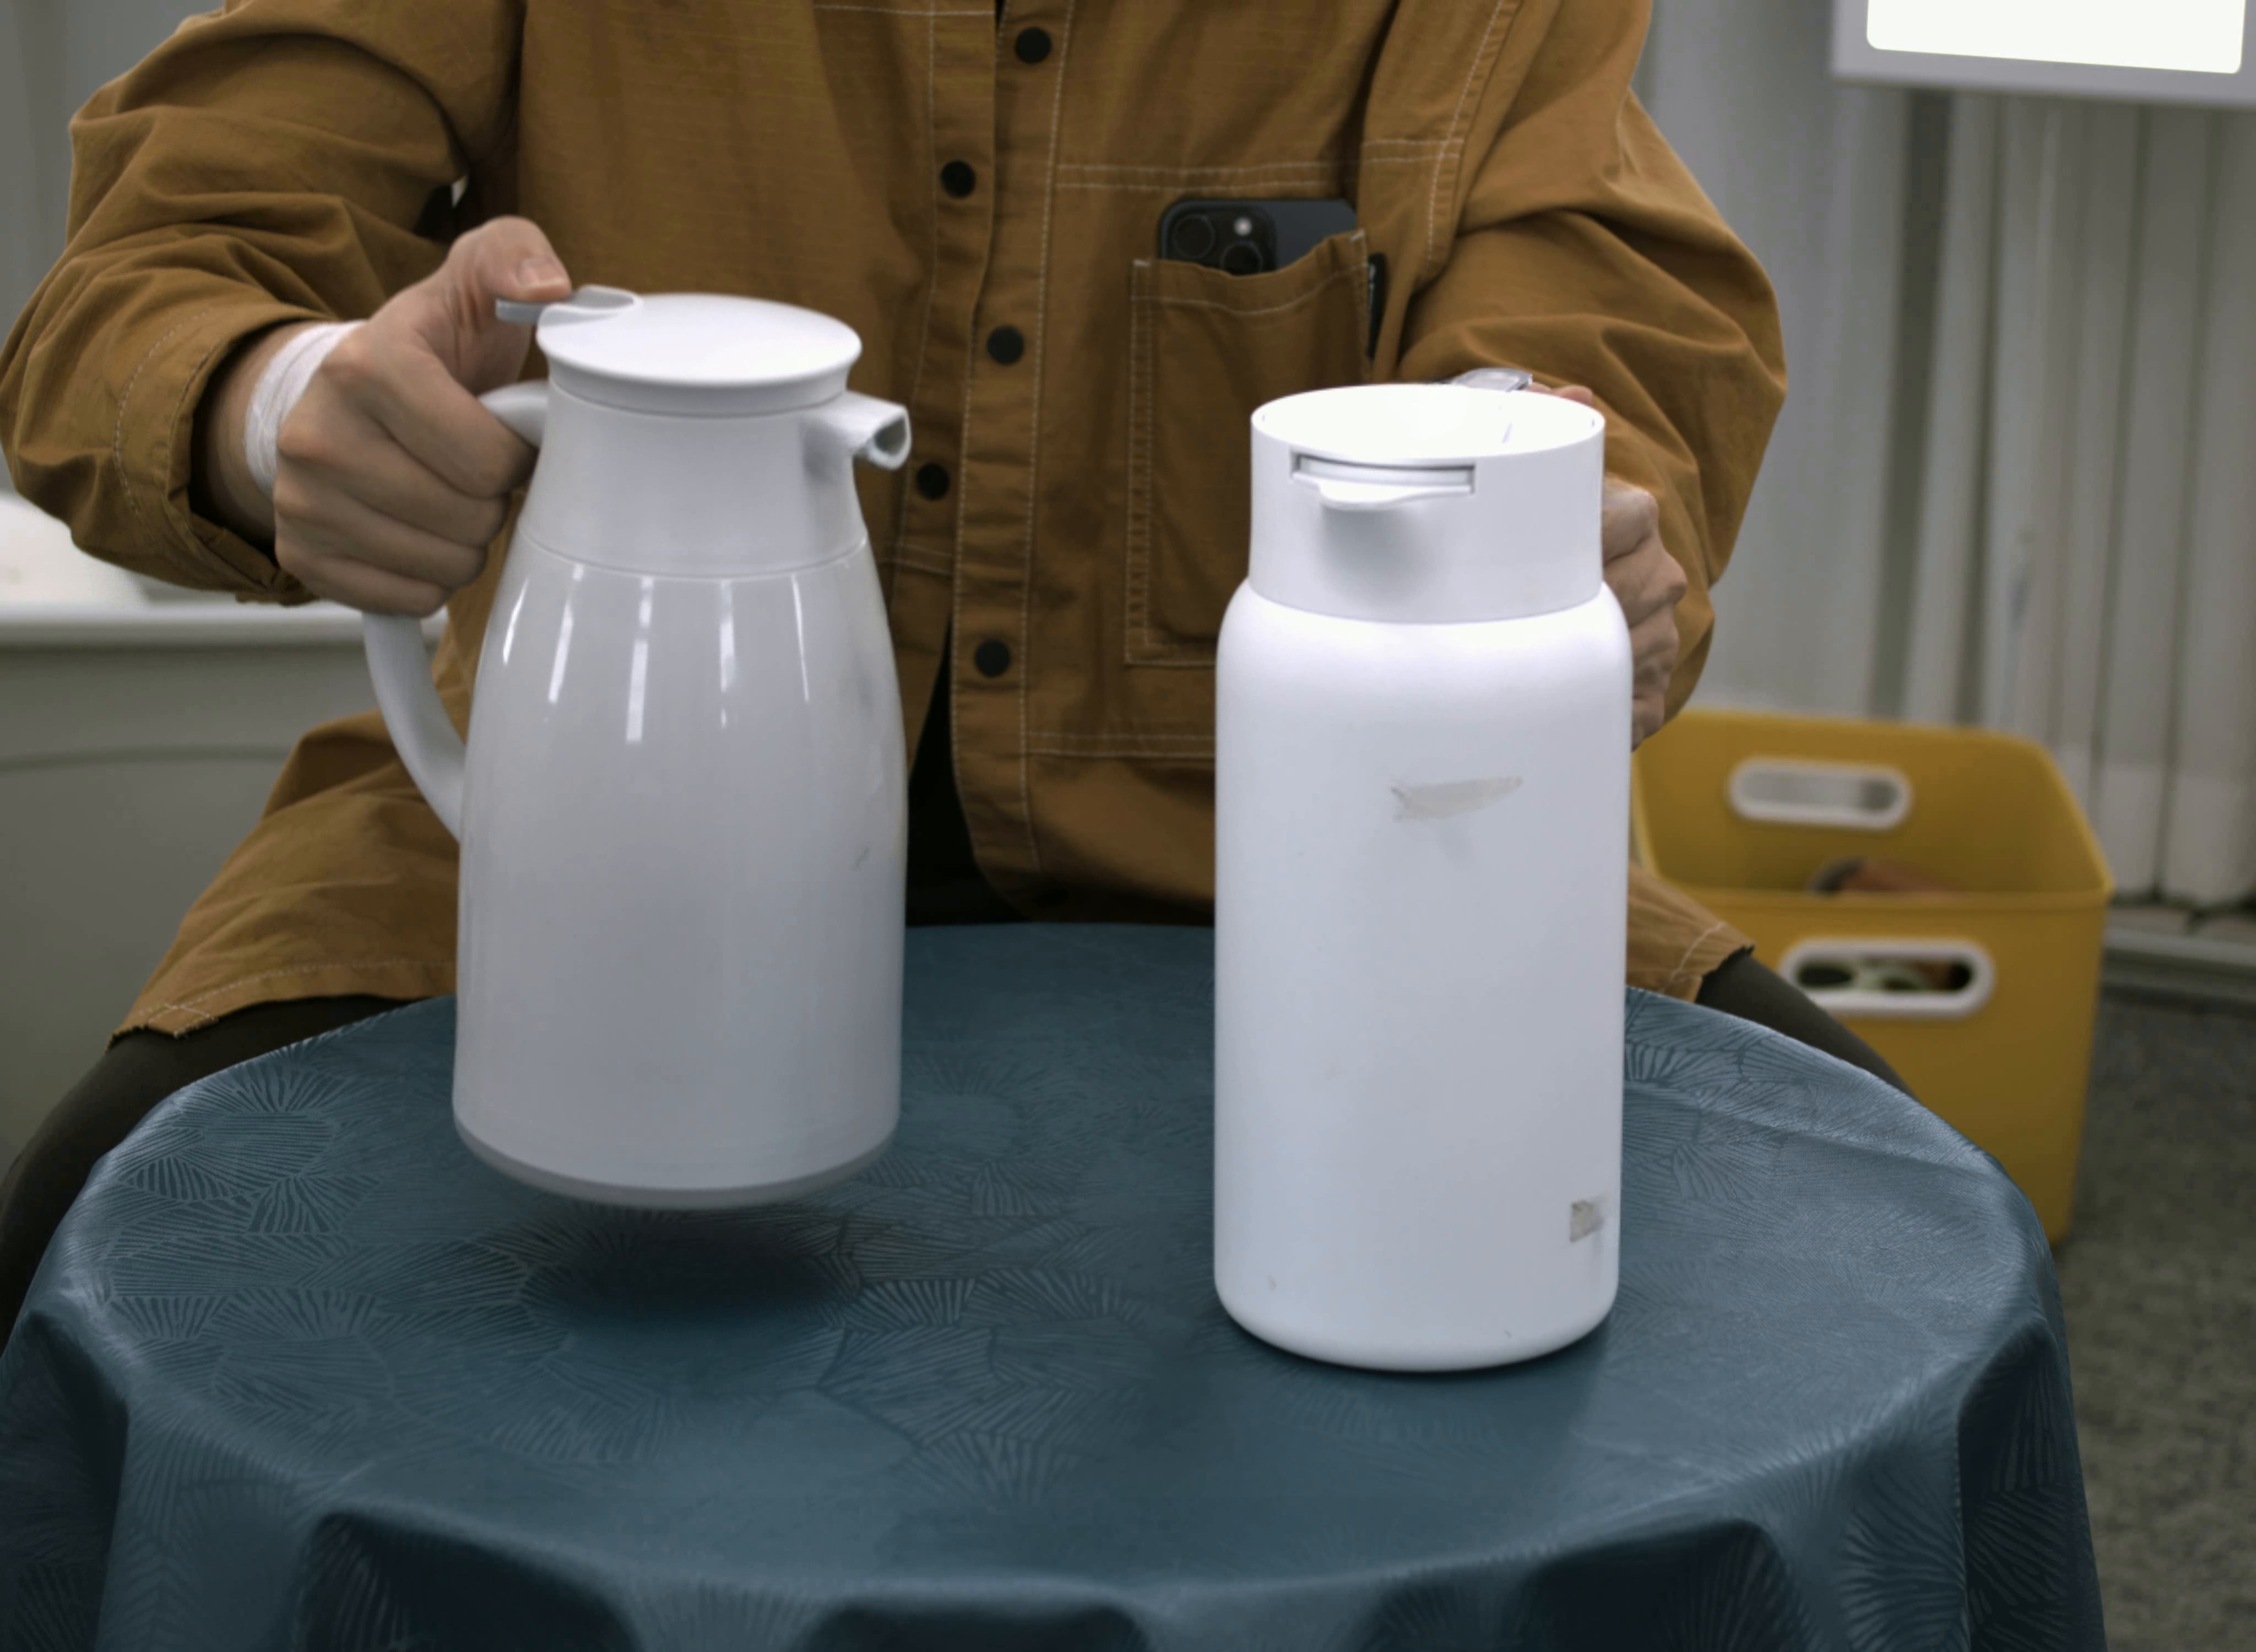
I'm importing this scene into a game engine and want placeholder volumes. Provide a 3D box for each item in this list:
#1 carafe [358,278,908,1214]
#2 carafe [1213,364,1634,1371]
[{"bbox_3d":[-0.145,-0.031,1.512,0.166,0.251,0.132,10,21,20],"label":"carafe"},{"bbox_3d":[0.088,0.007,1.501,0.123,0.271,0.173,4,17,19],"label":"carafe"}]
